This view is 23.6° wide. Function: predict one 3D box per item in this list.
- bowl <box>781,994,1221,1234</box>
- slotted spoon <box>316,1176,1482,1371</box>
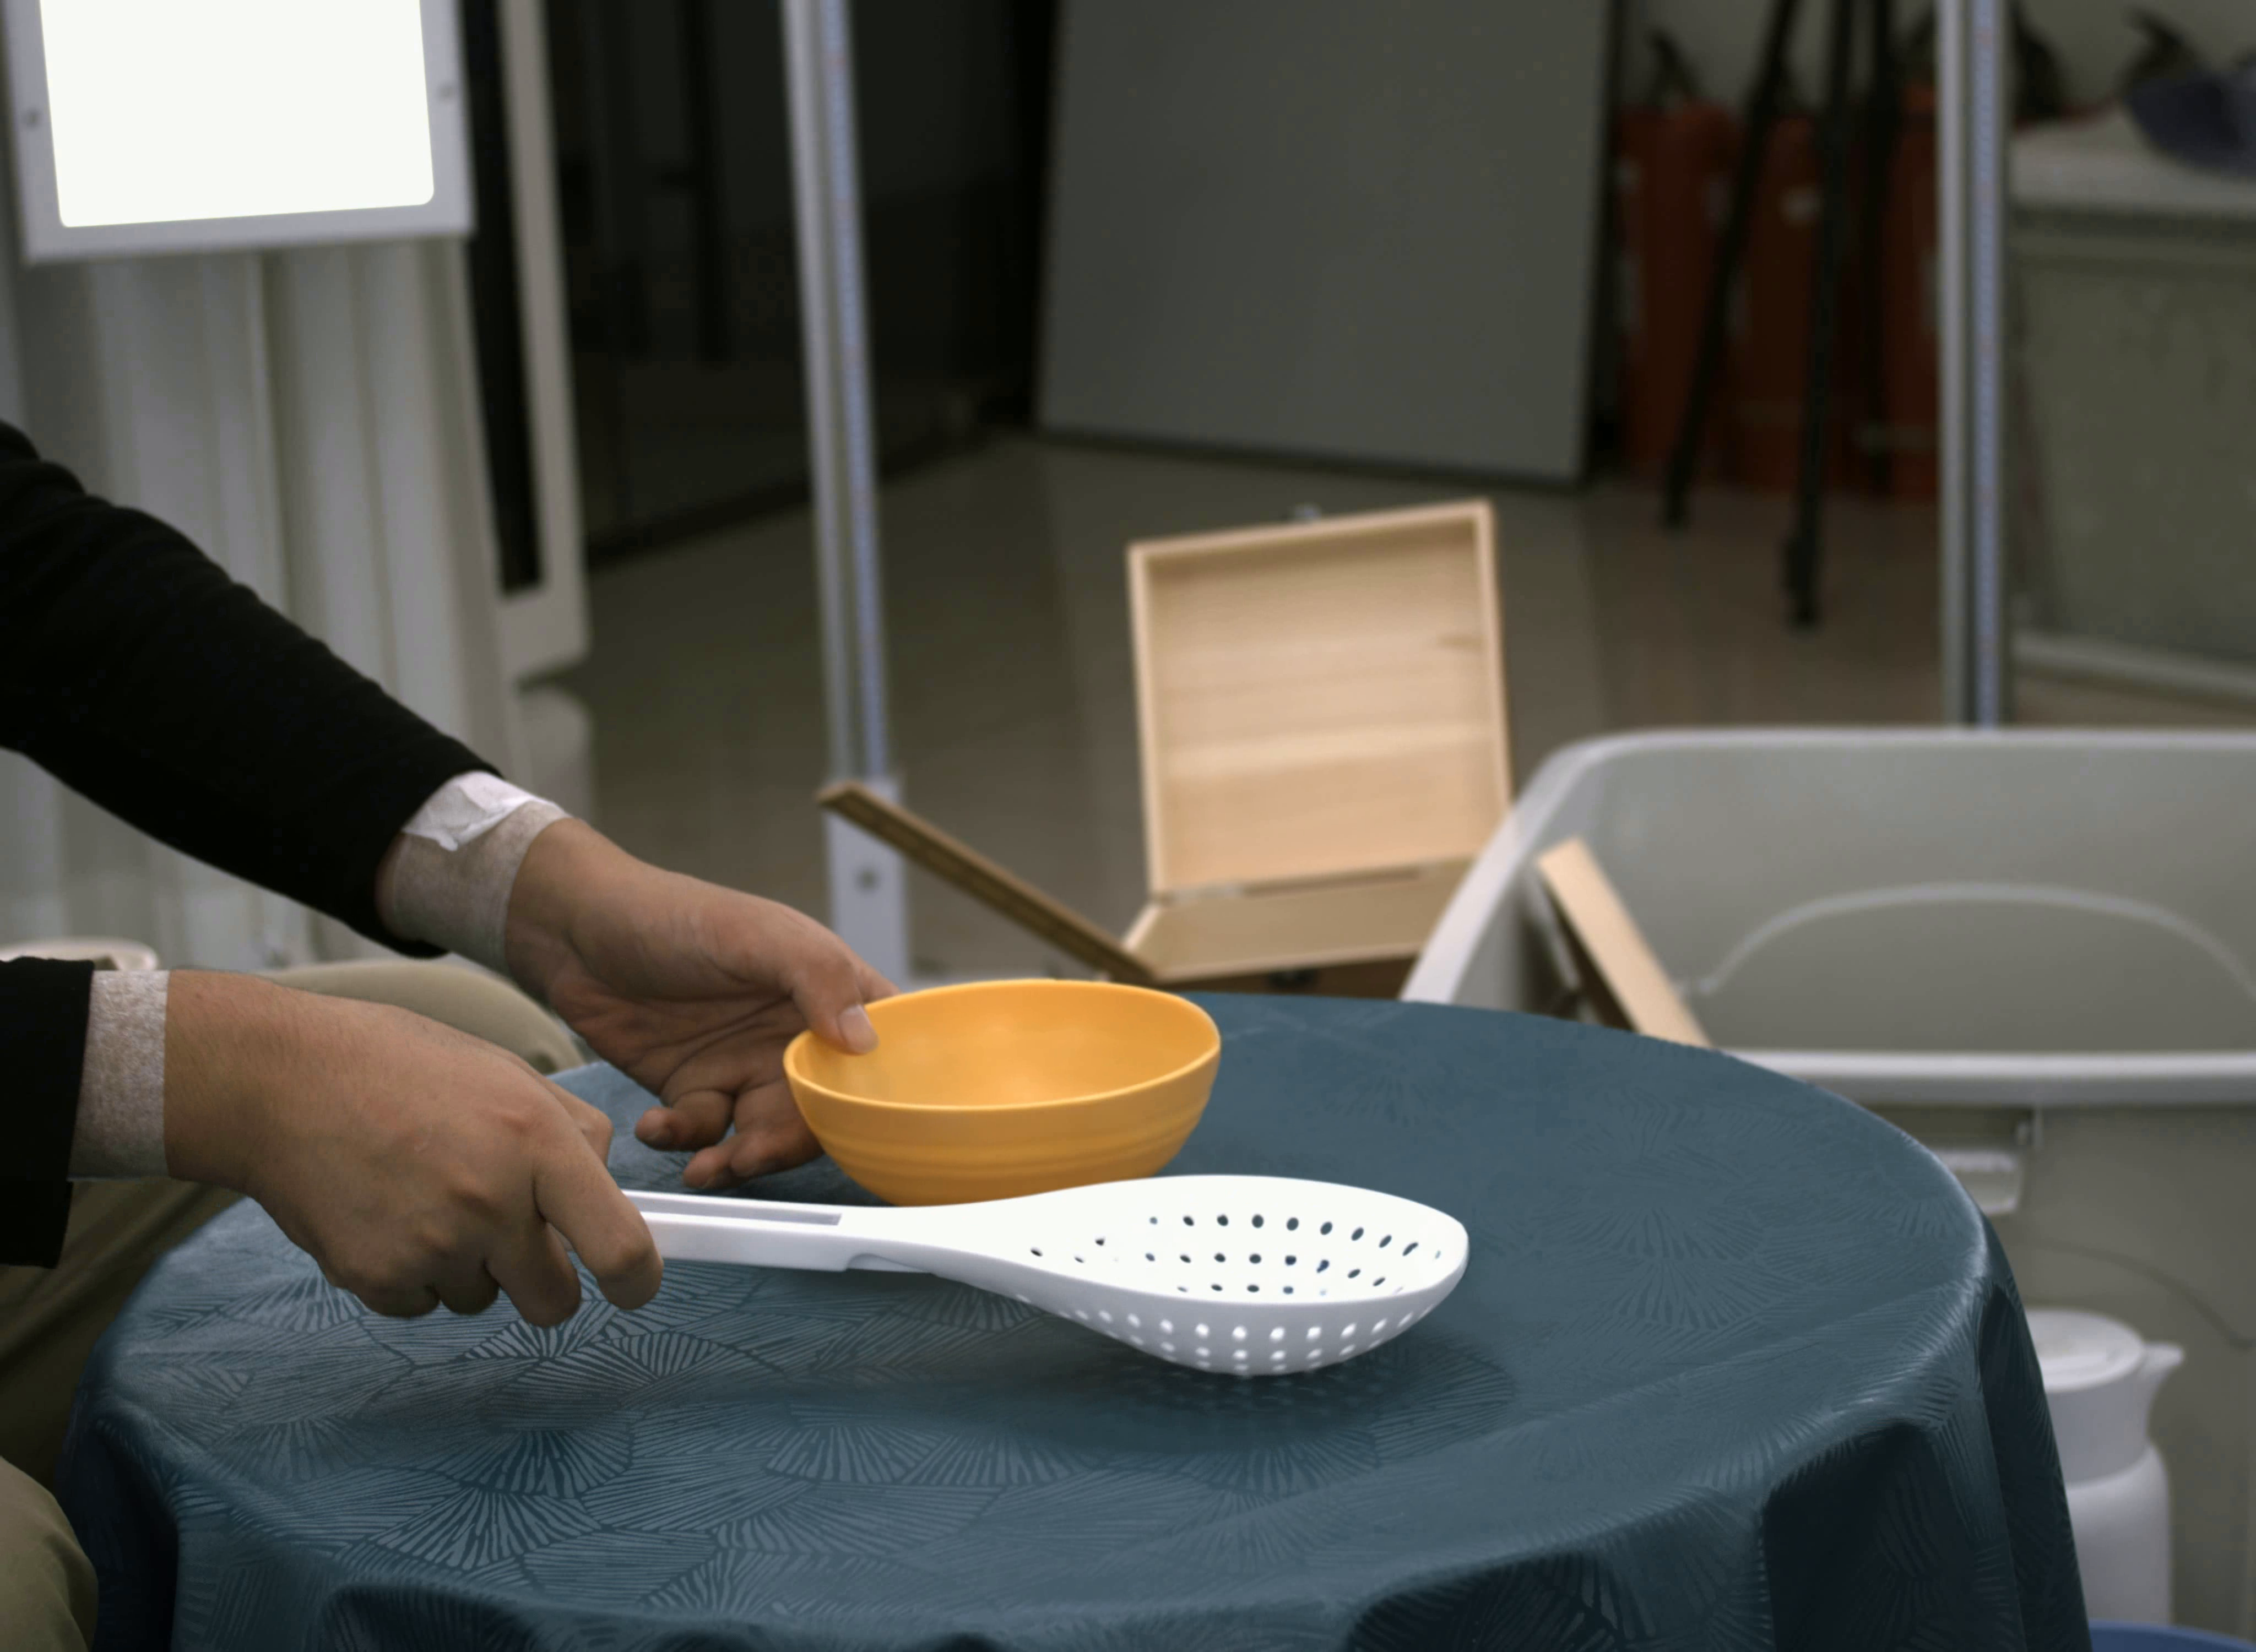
[{"bbox_3d":[-0.040,0.100,1.751,0.143,0.061,0.145,-2,12,0],"label":"bowl"},{"bbox_3d":[-0.069,0.123,1.604,0.346,0.046,0.136,7,10,4],"label":"slotted spoon"}]
